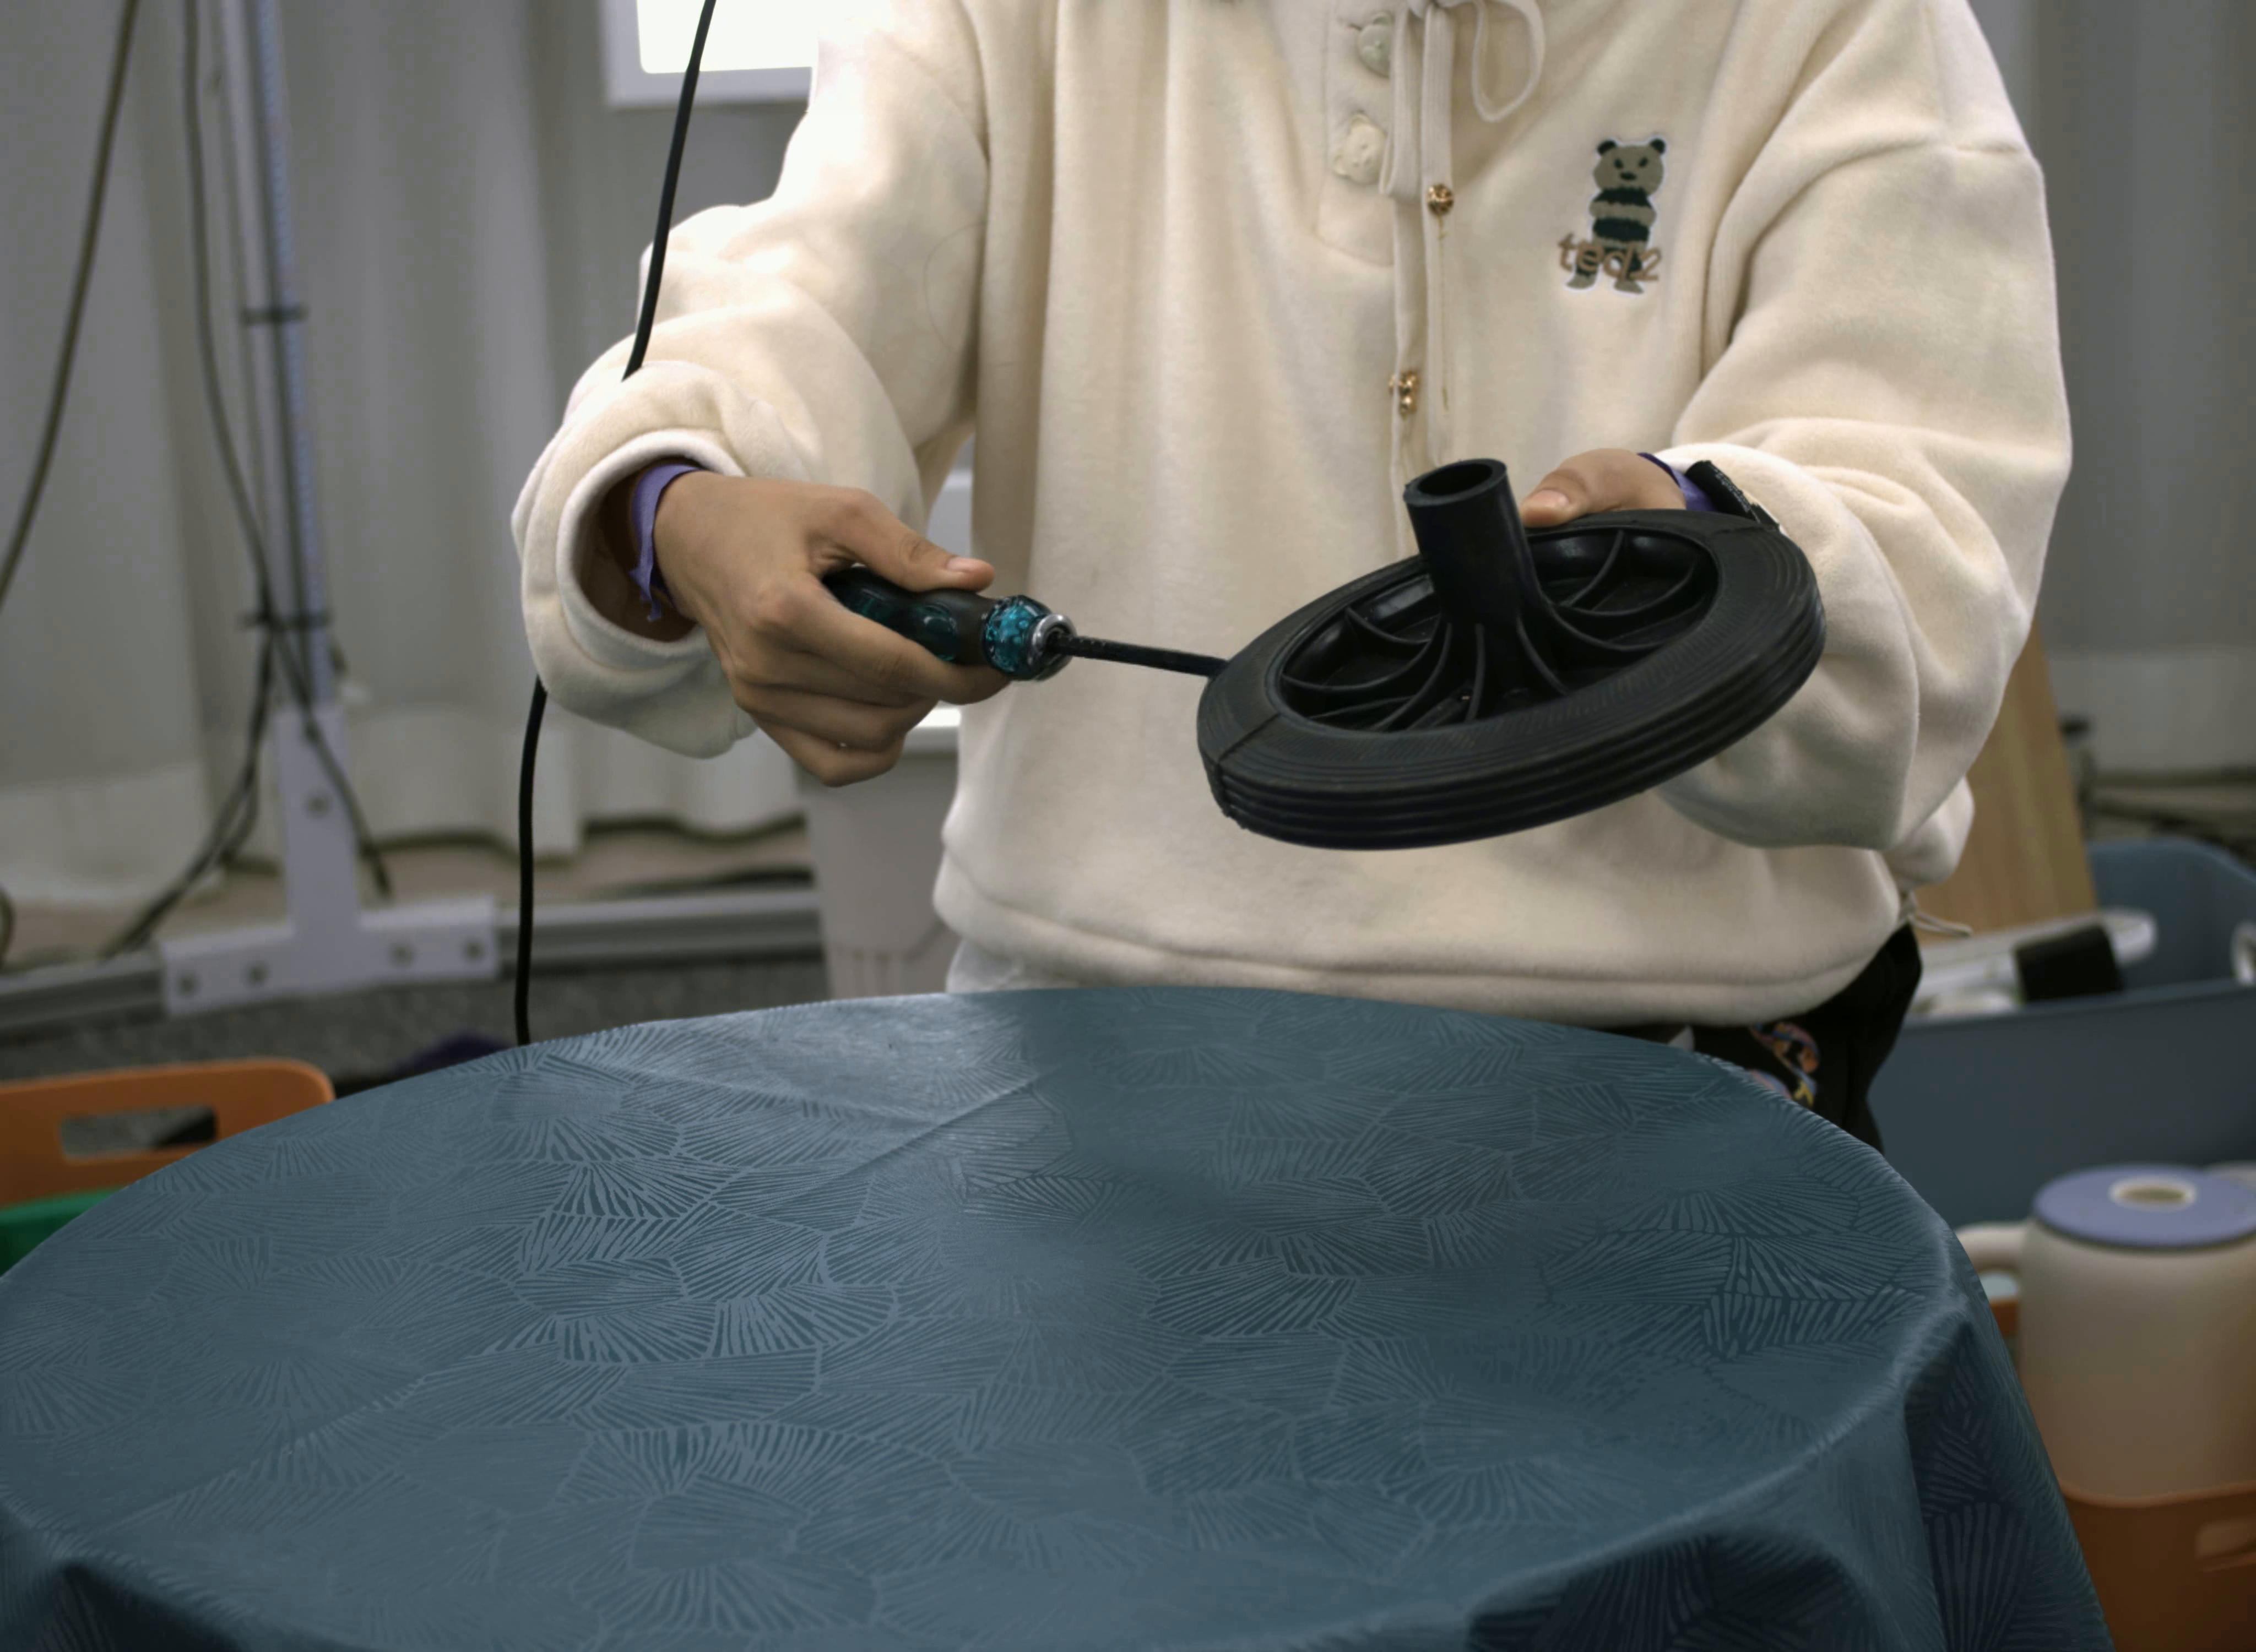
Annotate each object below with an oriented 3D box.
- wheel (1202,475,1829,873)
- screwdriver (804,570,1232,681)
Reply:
[{"bbox_3d":[0.106,-0.060,1.598,0.187,0.078,0.191,-9,26,20],"label":"wheel"},{"bbox_3d":[-0.034,-0.058,1.722,0.033,0.033,0.191,-15,17,-41],"label":"screwdriver"}]
